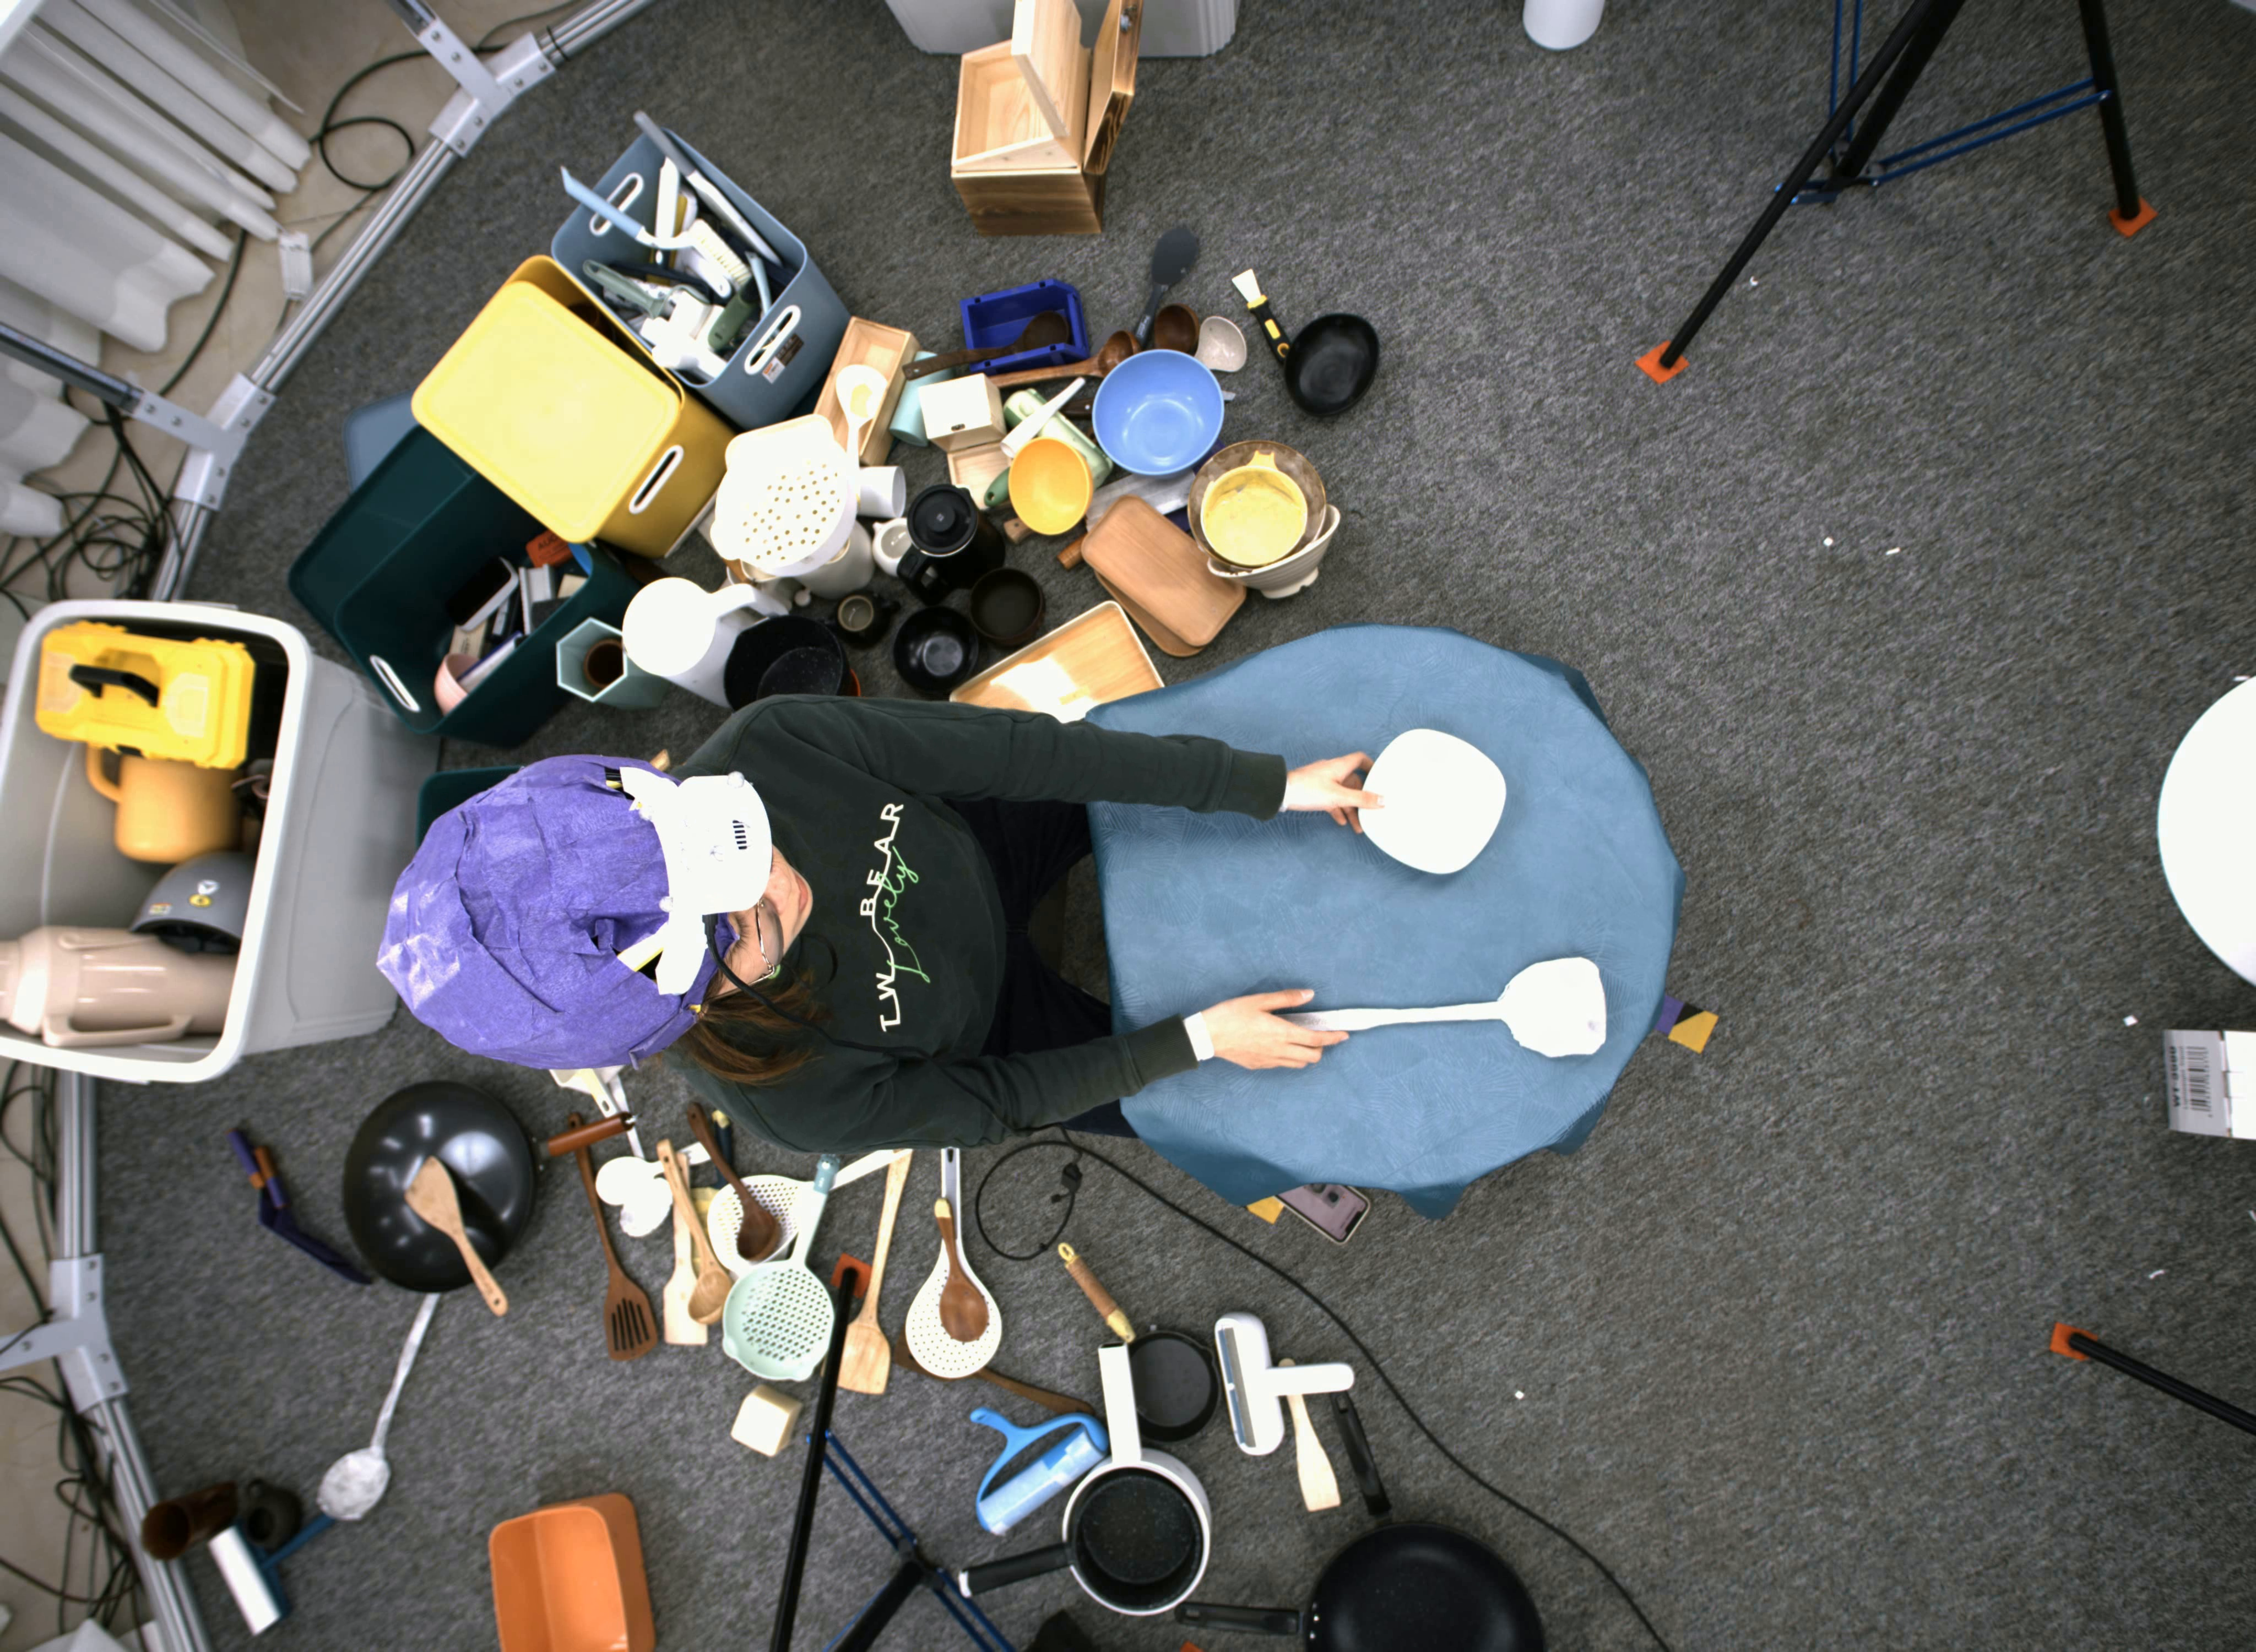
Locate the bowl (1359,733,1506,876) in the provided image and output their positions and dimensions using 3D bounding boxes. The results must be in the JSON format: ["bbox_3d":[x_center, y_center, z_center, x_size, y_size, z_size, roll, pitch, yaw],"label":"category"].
[{"bbox_3d":[0.315,-0.021,1.435,0.152,0.059,0.150,-1,84,8],"label":"bowl"}]

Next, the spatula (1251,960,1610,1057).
[{"bbox_3d":[0.307,0.193,1.430,0.366,0.045,0.098,-4,86,10],"label":"spatula"}]
